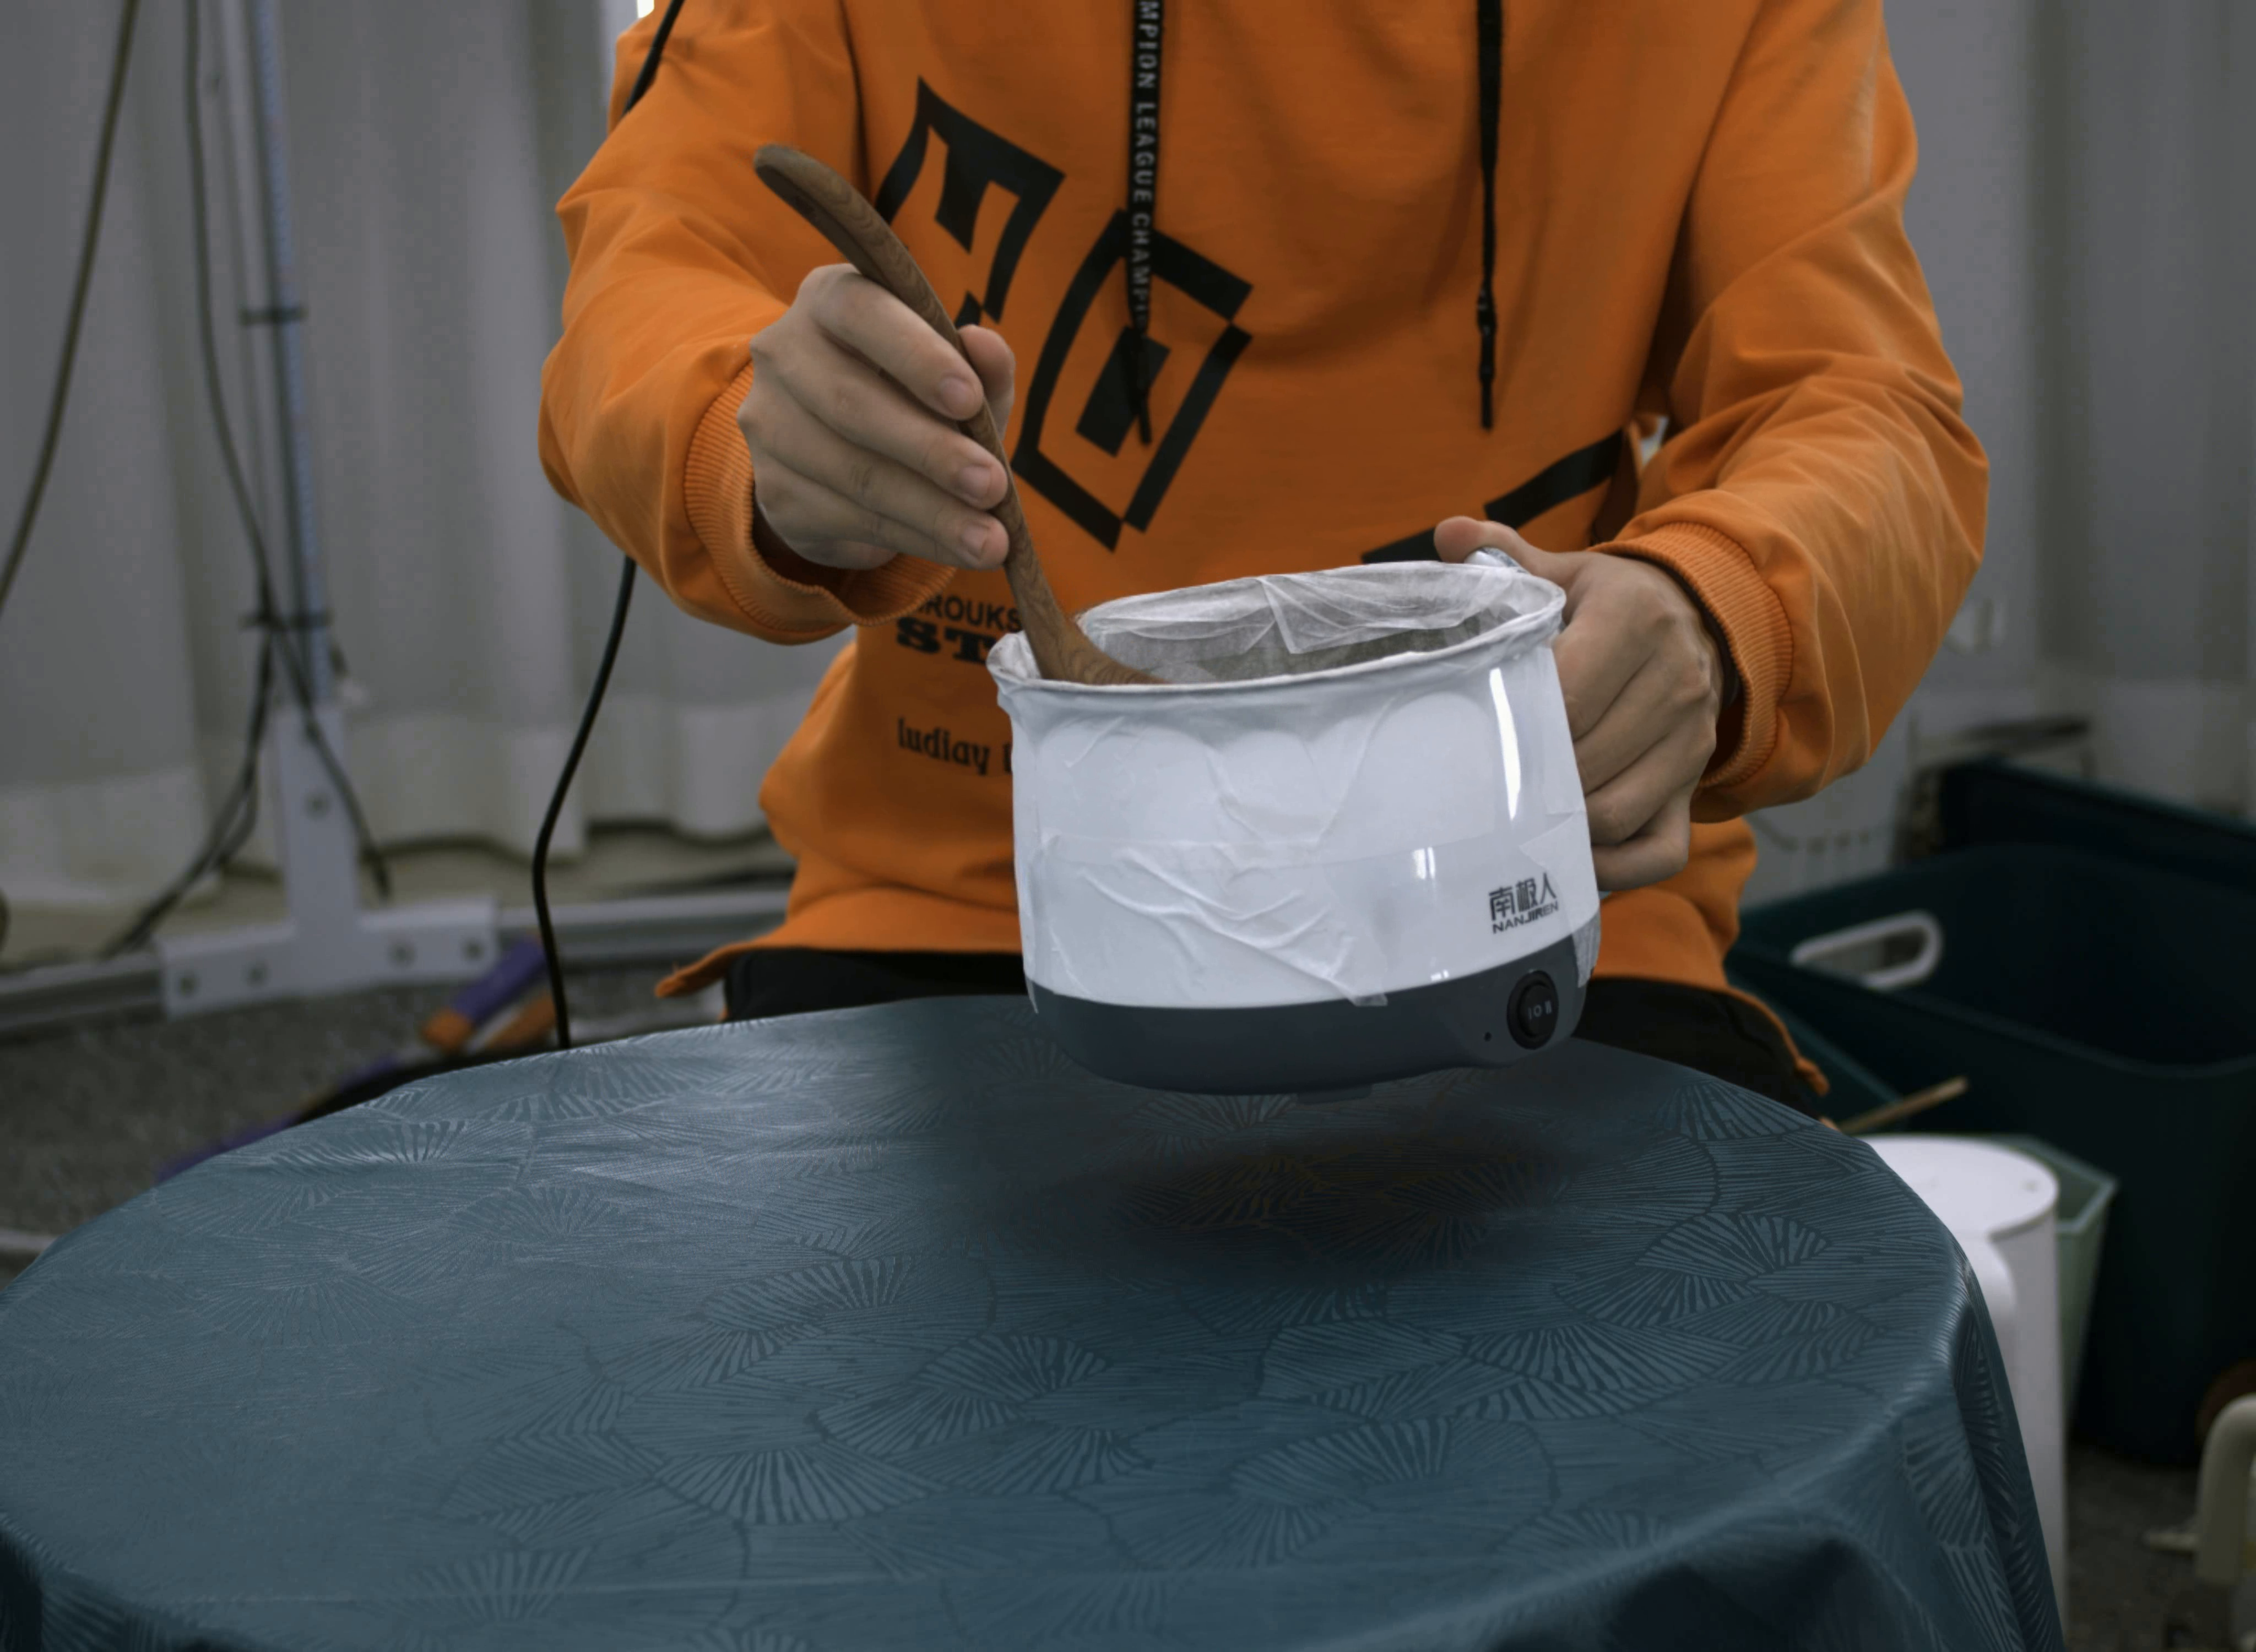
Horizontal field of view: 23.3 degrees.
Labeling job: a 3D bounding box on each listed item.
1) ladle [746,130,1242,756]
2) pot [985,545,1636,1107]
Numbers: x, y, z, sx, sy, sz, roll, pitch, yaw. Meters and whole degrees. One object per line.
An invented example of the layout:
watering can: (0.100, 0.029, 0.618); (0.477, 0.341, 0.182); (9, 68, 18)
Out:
ladle: (-0.025, -0.108, 1.641); (0.065, 0.261, 0.076); (-28, -9, -18)
pot: (0.070, -0.005, 1.683); (0.179, 0.136, 0.233); (4, 16, 42)
